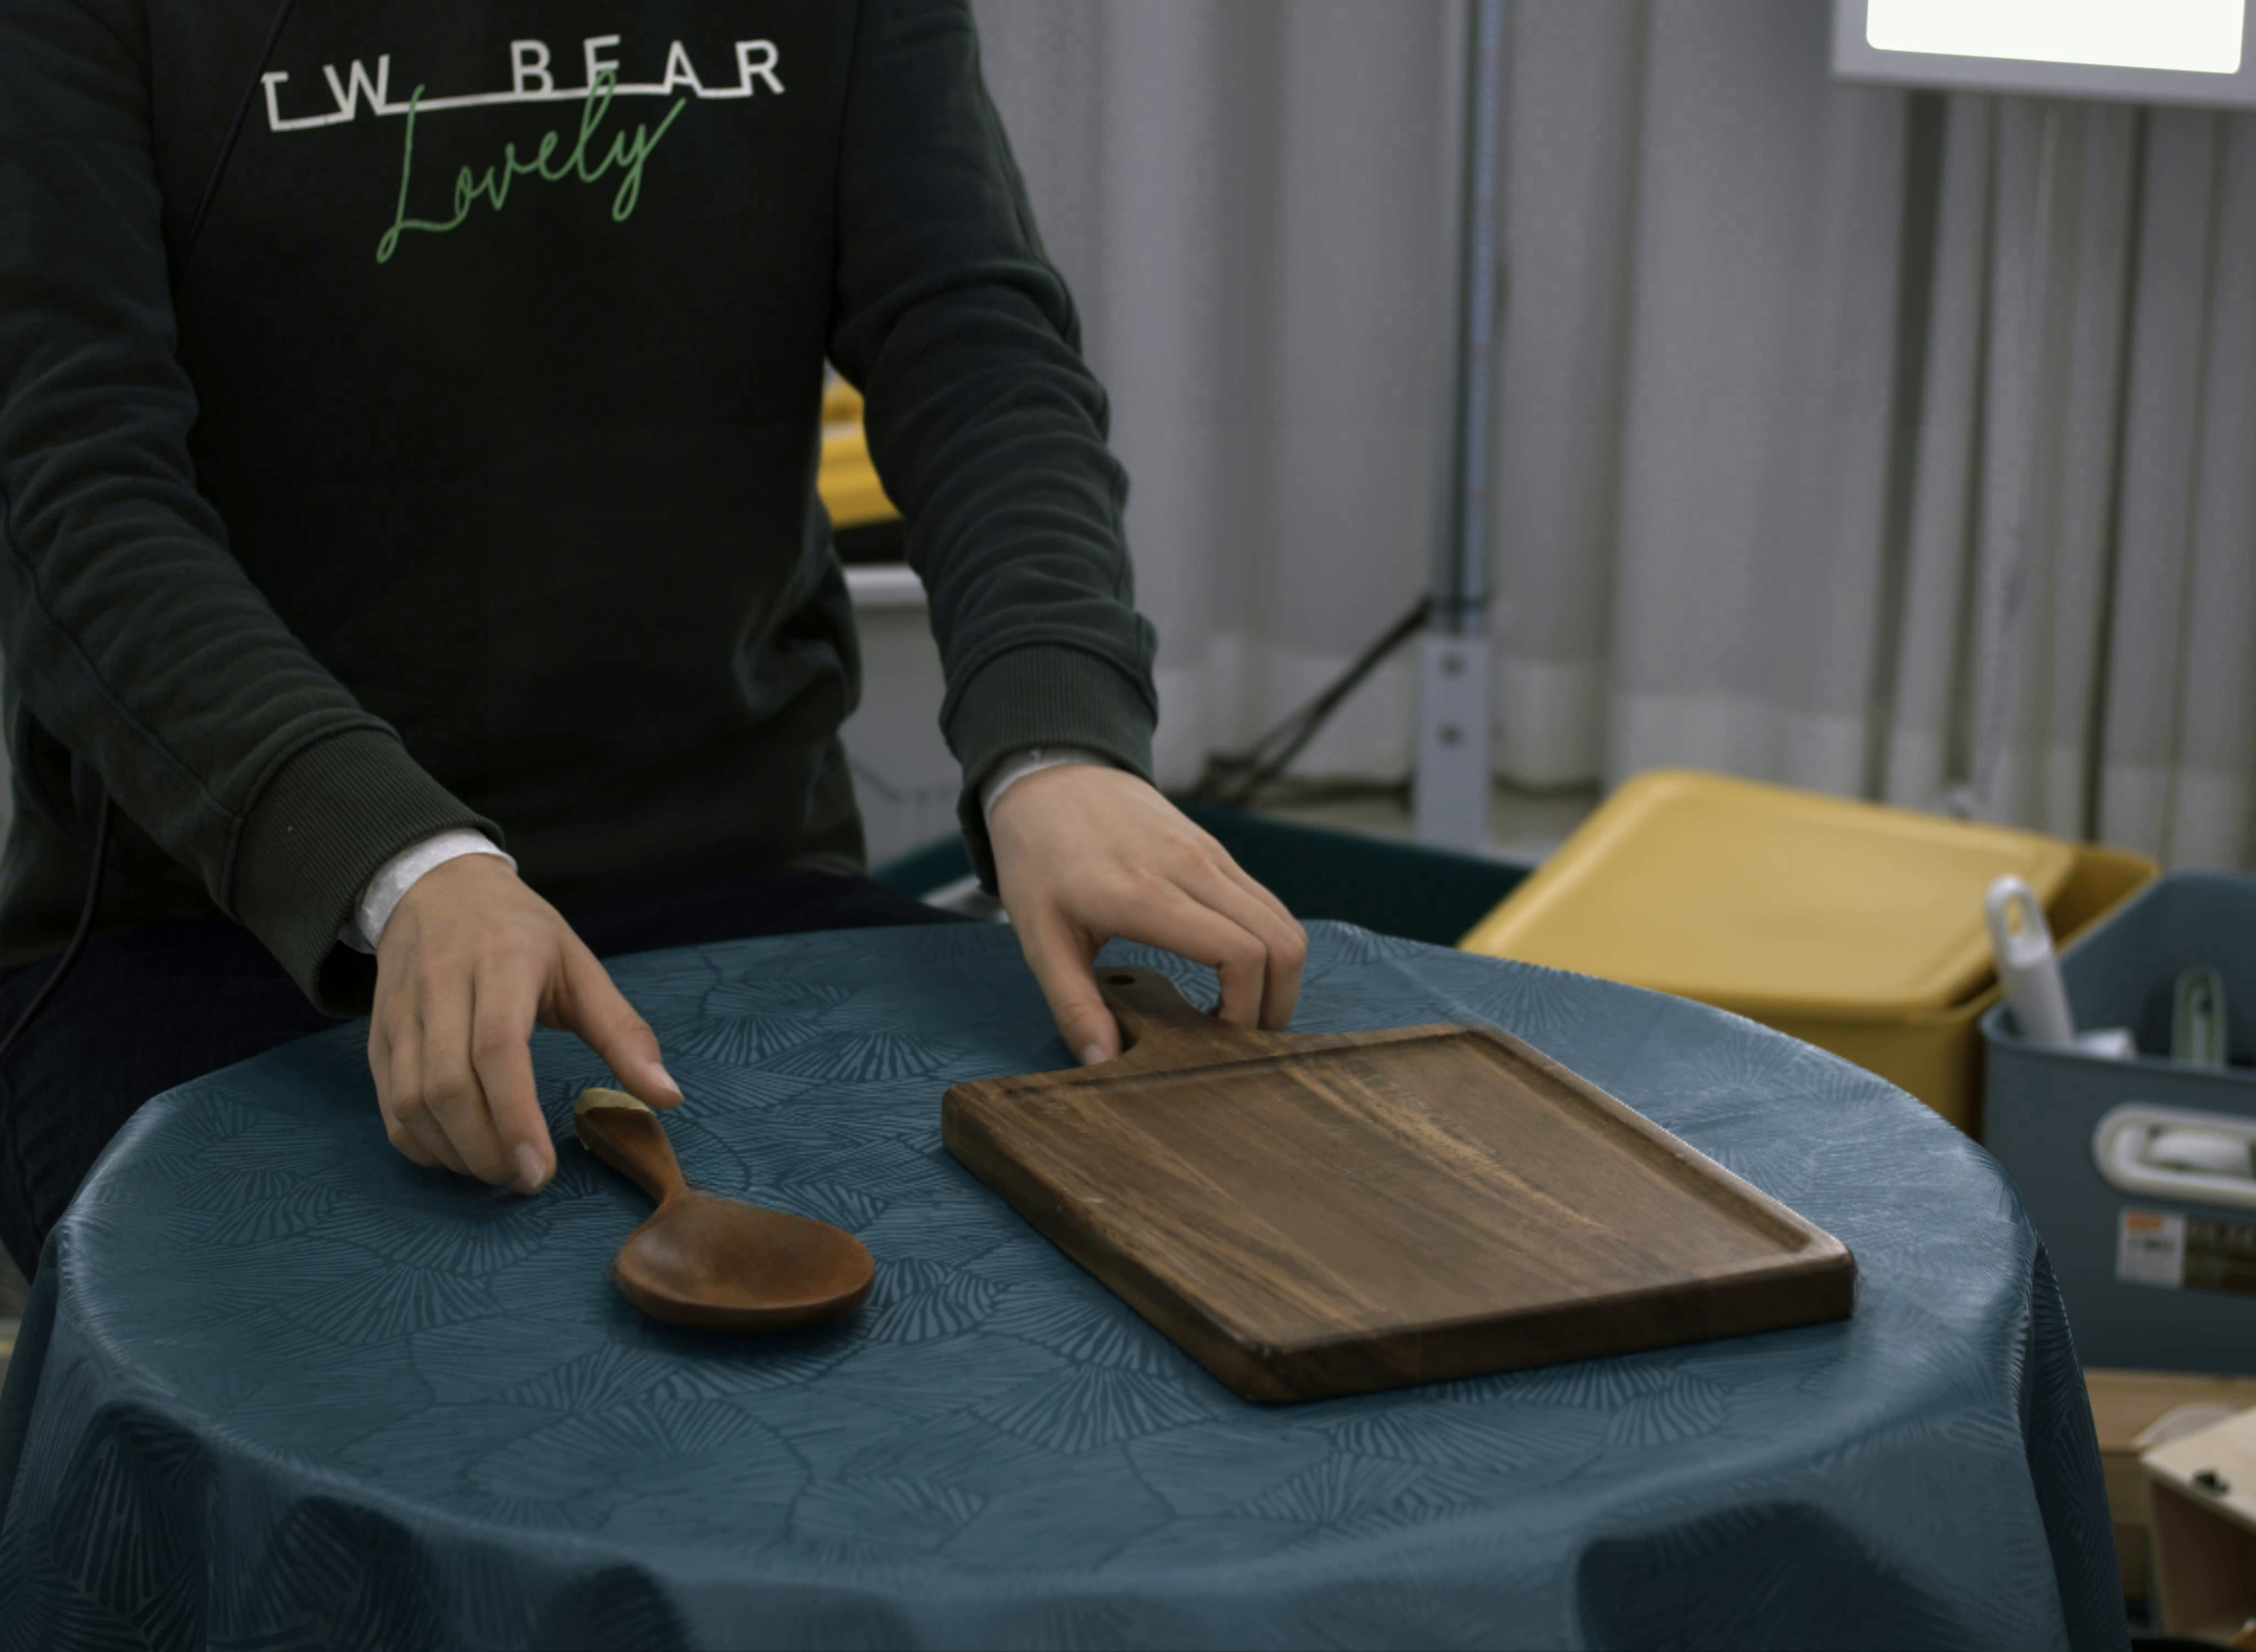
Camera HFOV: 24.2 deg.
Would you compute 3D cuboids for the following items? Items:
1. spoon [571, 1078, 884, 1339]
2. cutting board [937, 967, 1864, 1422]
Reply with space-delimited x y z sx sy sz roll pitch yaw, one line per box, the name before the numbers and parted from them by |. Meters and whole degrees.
spoon | -0.130 0.115 1.580 0.075 0.017 0.213 -7 18 -19
cutting board | 0.058 0.101 1.637 0.201 0.023 0.348 -7 17 -22
